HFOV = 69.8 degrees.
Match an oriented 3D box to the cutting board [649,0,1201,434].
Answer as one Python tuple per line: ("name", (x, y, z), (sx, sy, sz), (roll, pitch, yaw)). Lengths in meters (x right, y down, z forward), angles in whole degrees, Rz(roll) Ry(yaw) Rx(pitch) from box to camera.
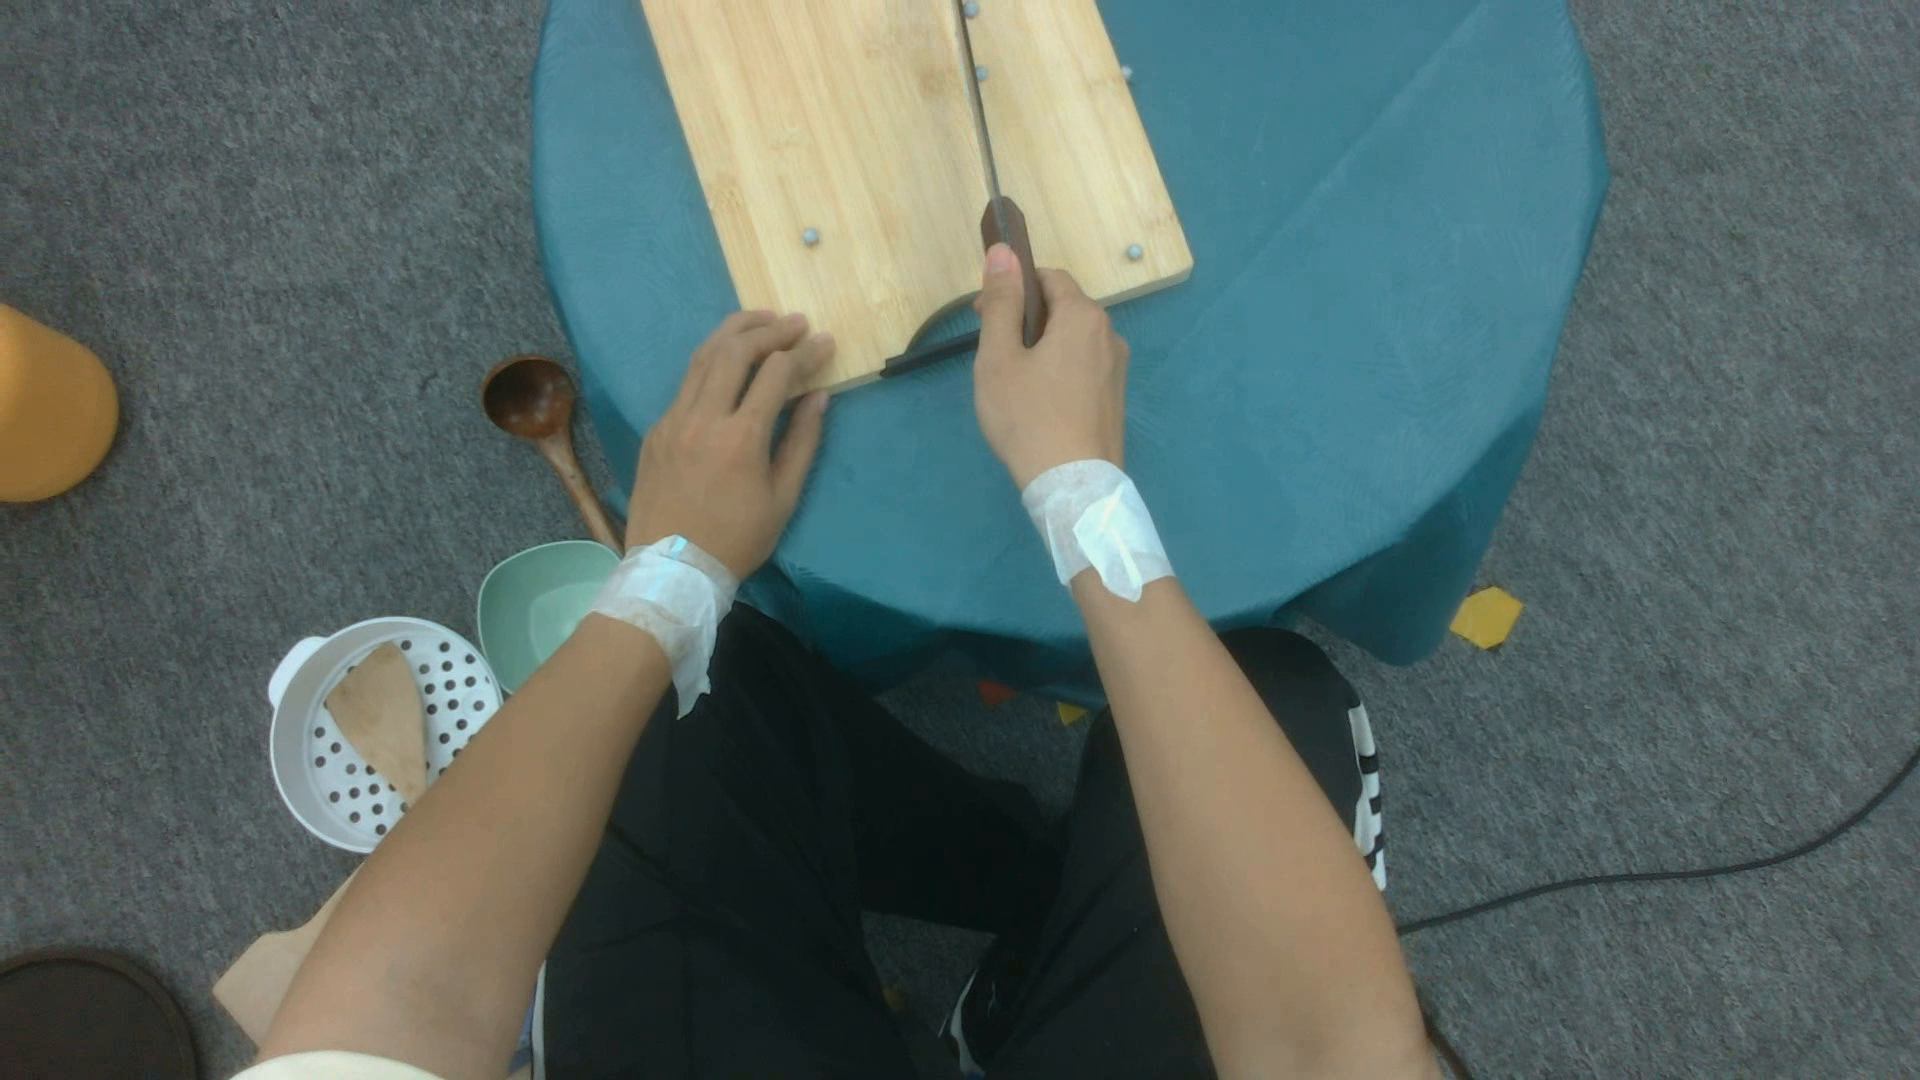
("cutting board", (-0.035, -0.257, 0.789), (0.251, 0.023, 0.349), (-20, 79, -4))

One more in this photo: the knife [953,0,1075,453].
("knife", (0.020, -0.182, 0.722), (0.024, 0.068, 0.300), (-11, 78, 0))
